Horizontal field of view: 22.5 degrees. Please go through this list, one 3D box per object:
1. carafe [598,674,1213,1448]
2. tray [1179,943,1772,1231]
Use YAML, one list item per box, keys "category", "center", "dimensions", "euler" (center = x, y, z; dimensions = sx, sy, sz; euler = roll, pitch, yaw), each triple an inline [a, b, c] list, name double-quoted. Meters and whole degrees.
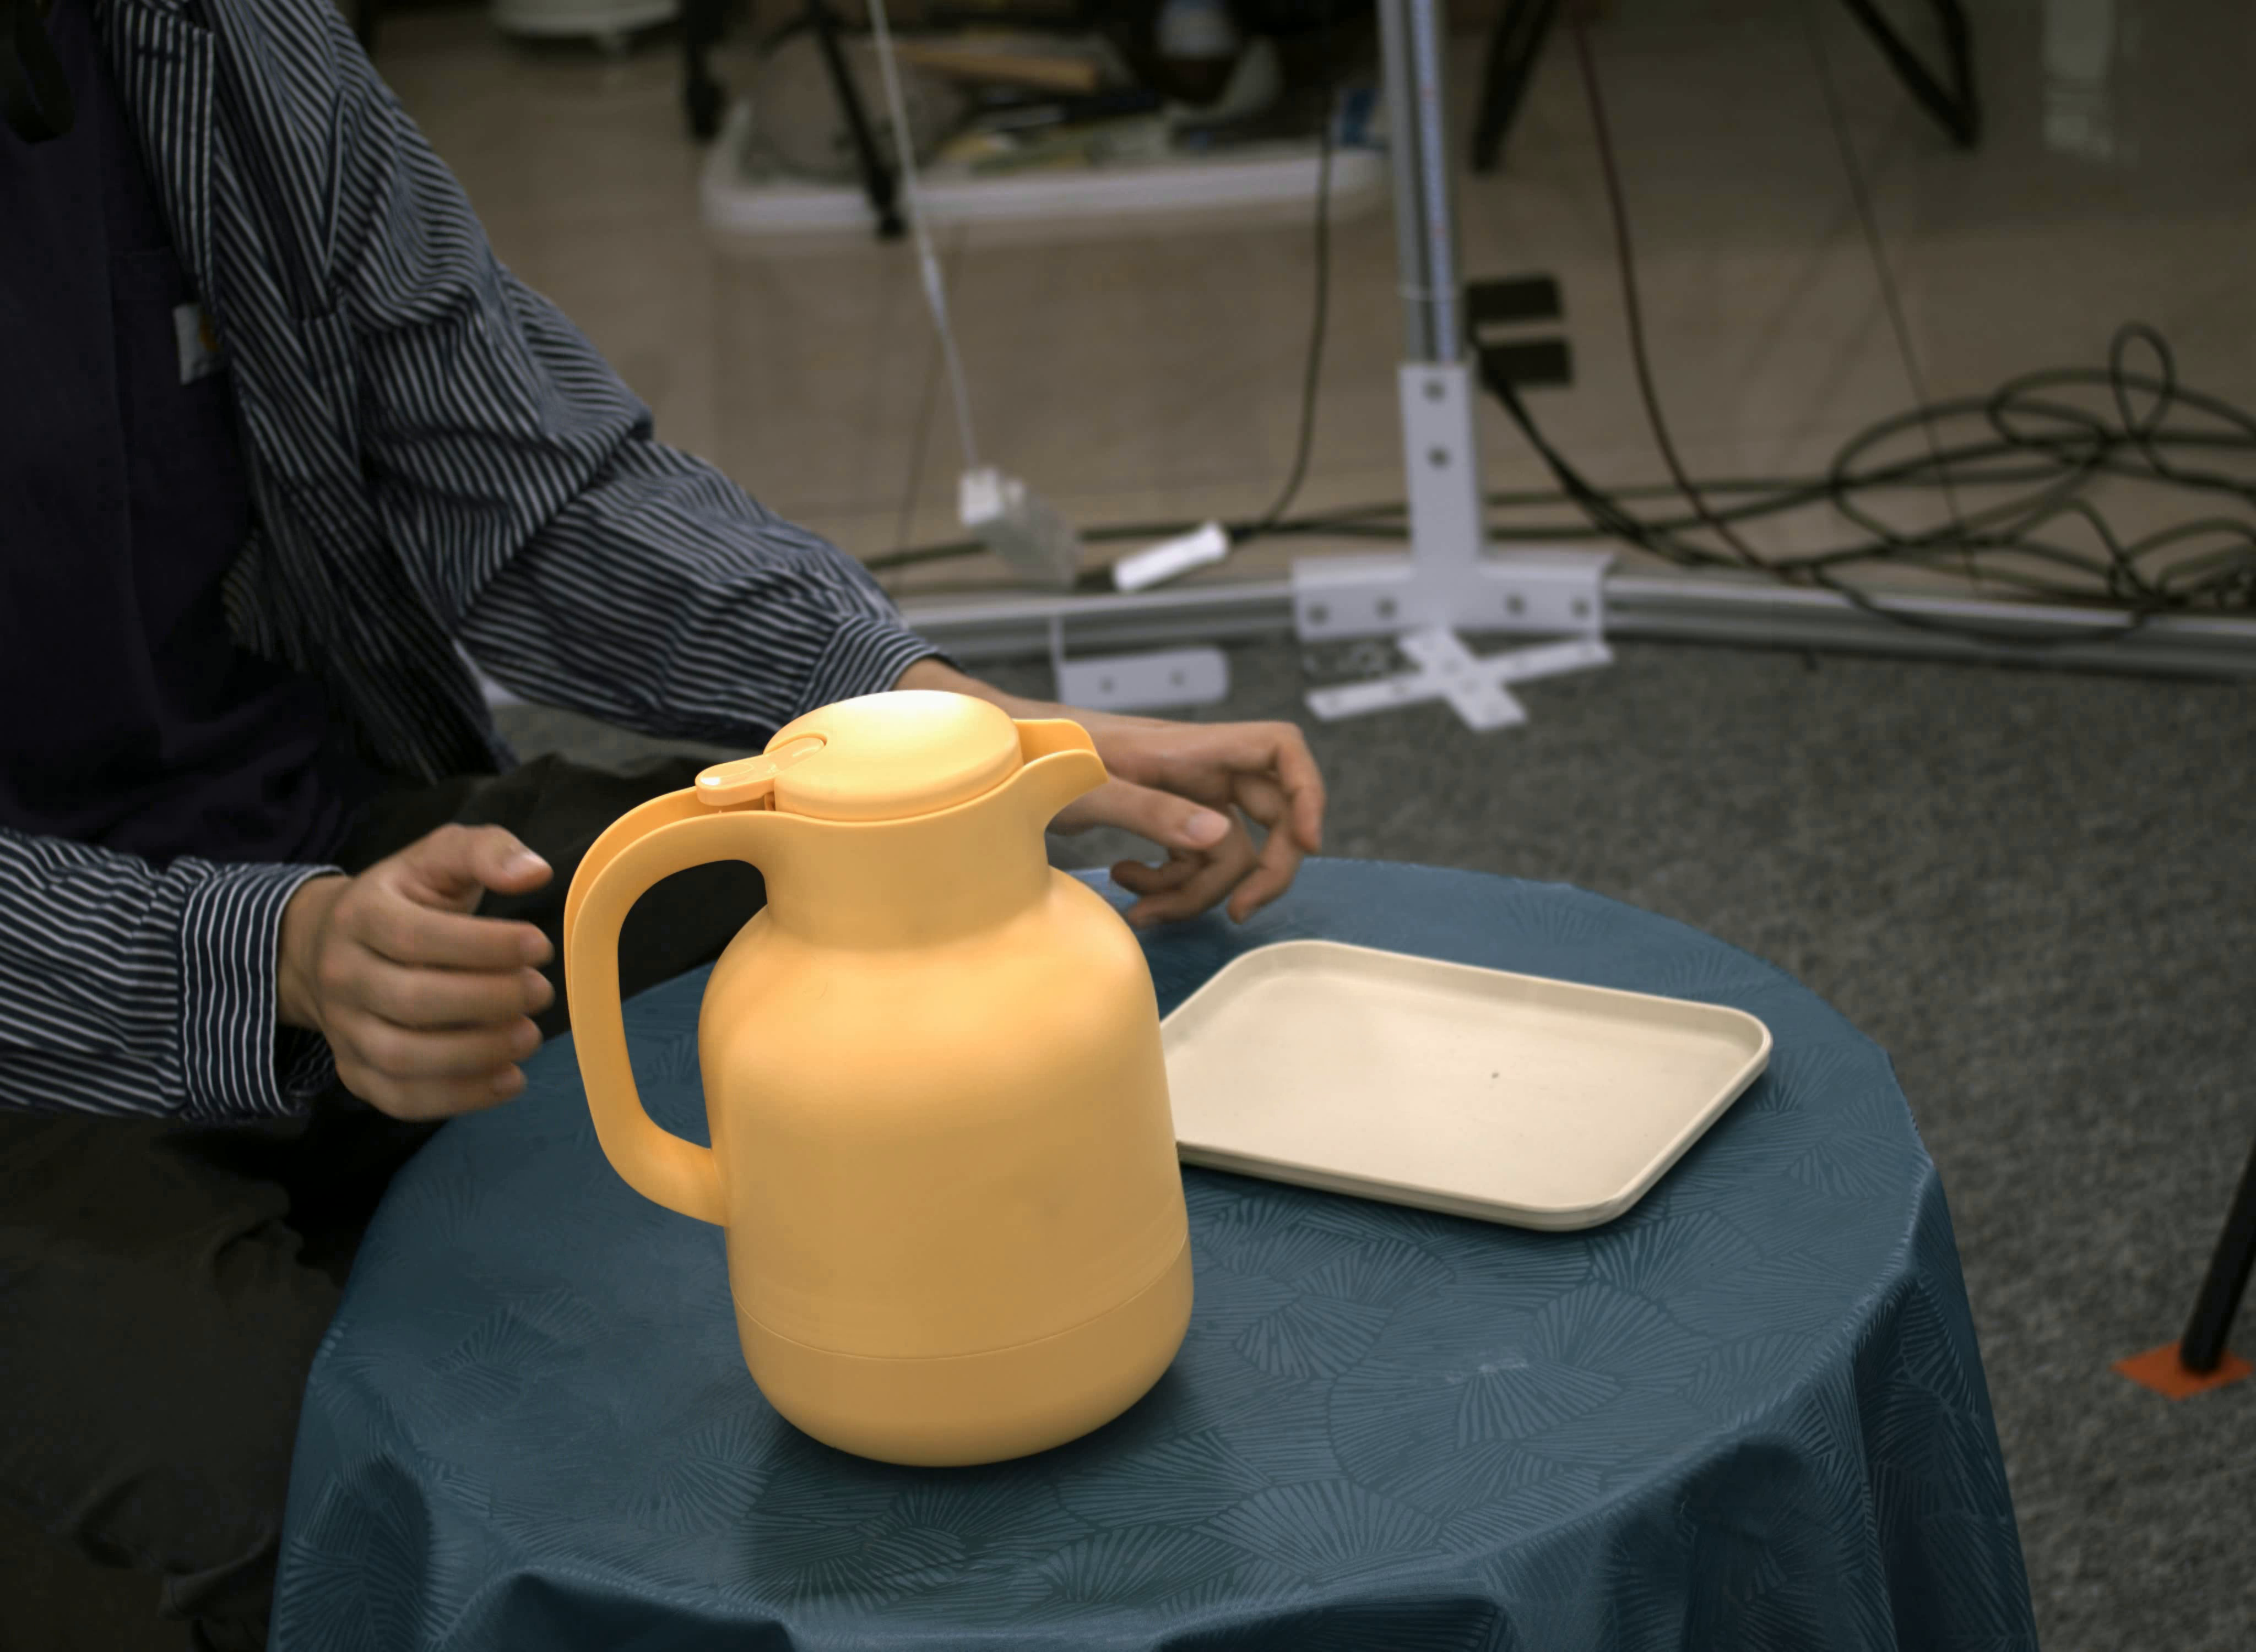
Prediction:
- category: "carafe"
  center: [-0.079, 0.081, 1.984]
  dimensions: [0.202, 0.264, 0.161]
  euler: [-11, 25, -10]
- category: "tray"
  center: [0.115, 0.100, 2.185]
  dimensions: [0.238, 0.018, 0.169]
  euler: [9, 29, 30]
